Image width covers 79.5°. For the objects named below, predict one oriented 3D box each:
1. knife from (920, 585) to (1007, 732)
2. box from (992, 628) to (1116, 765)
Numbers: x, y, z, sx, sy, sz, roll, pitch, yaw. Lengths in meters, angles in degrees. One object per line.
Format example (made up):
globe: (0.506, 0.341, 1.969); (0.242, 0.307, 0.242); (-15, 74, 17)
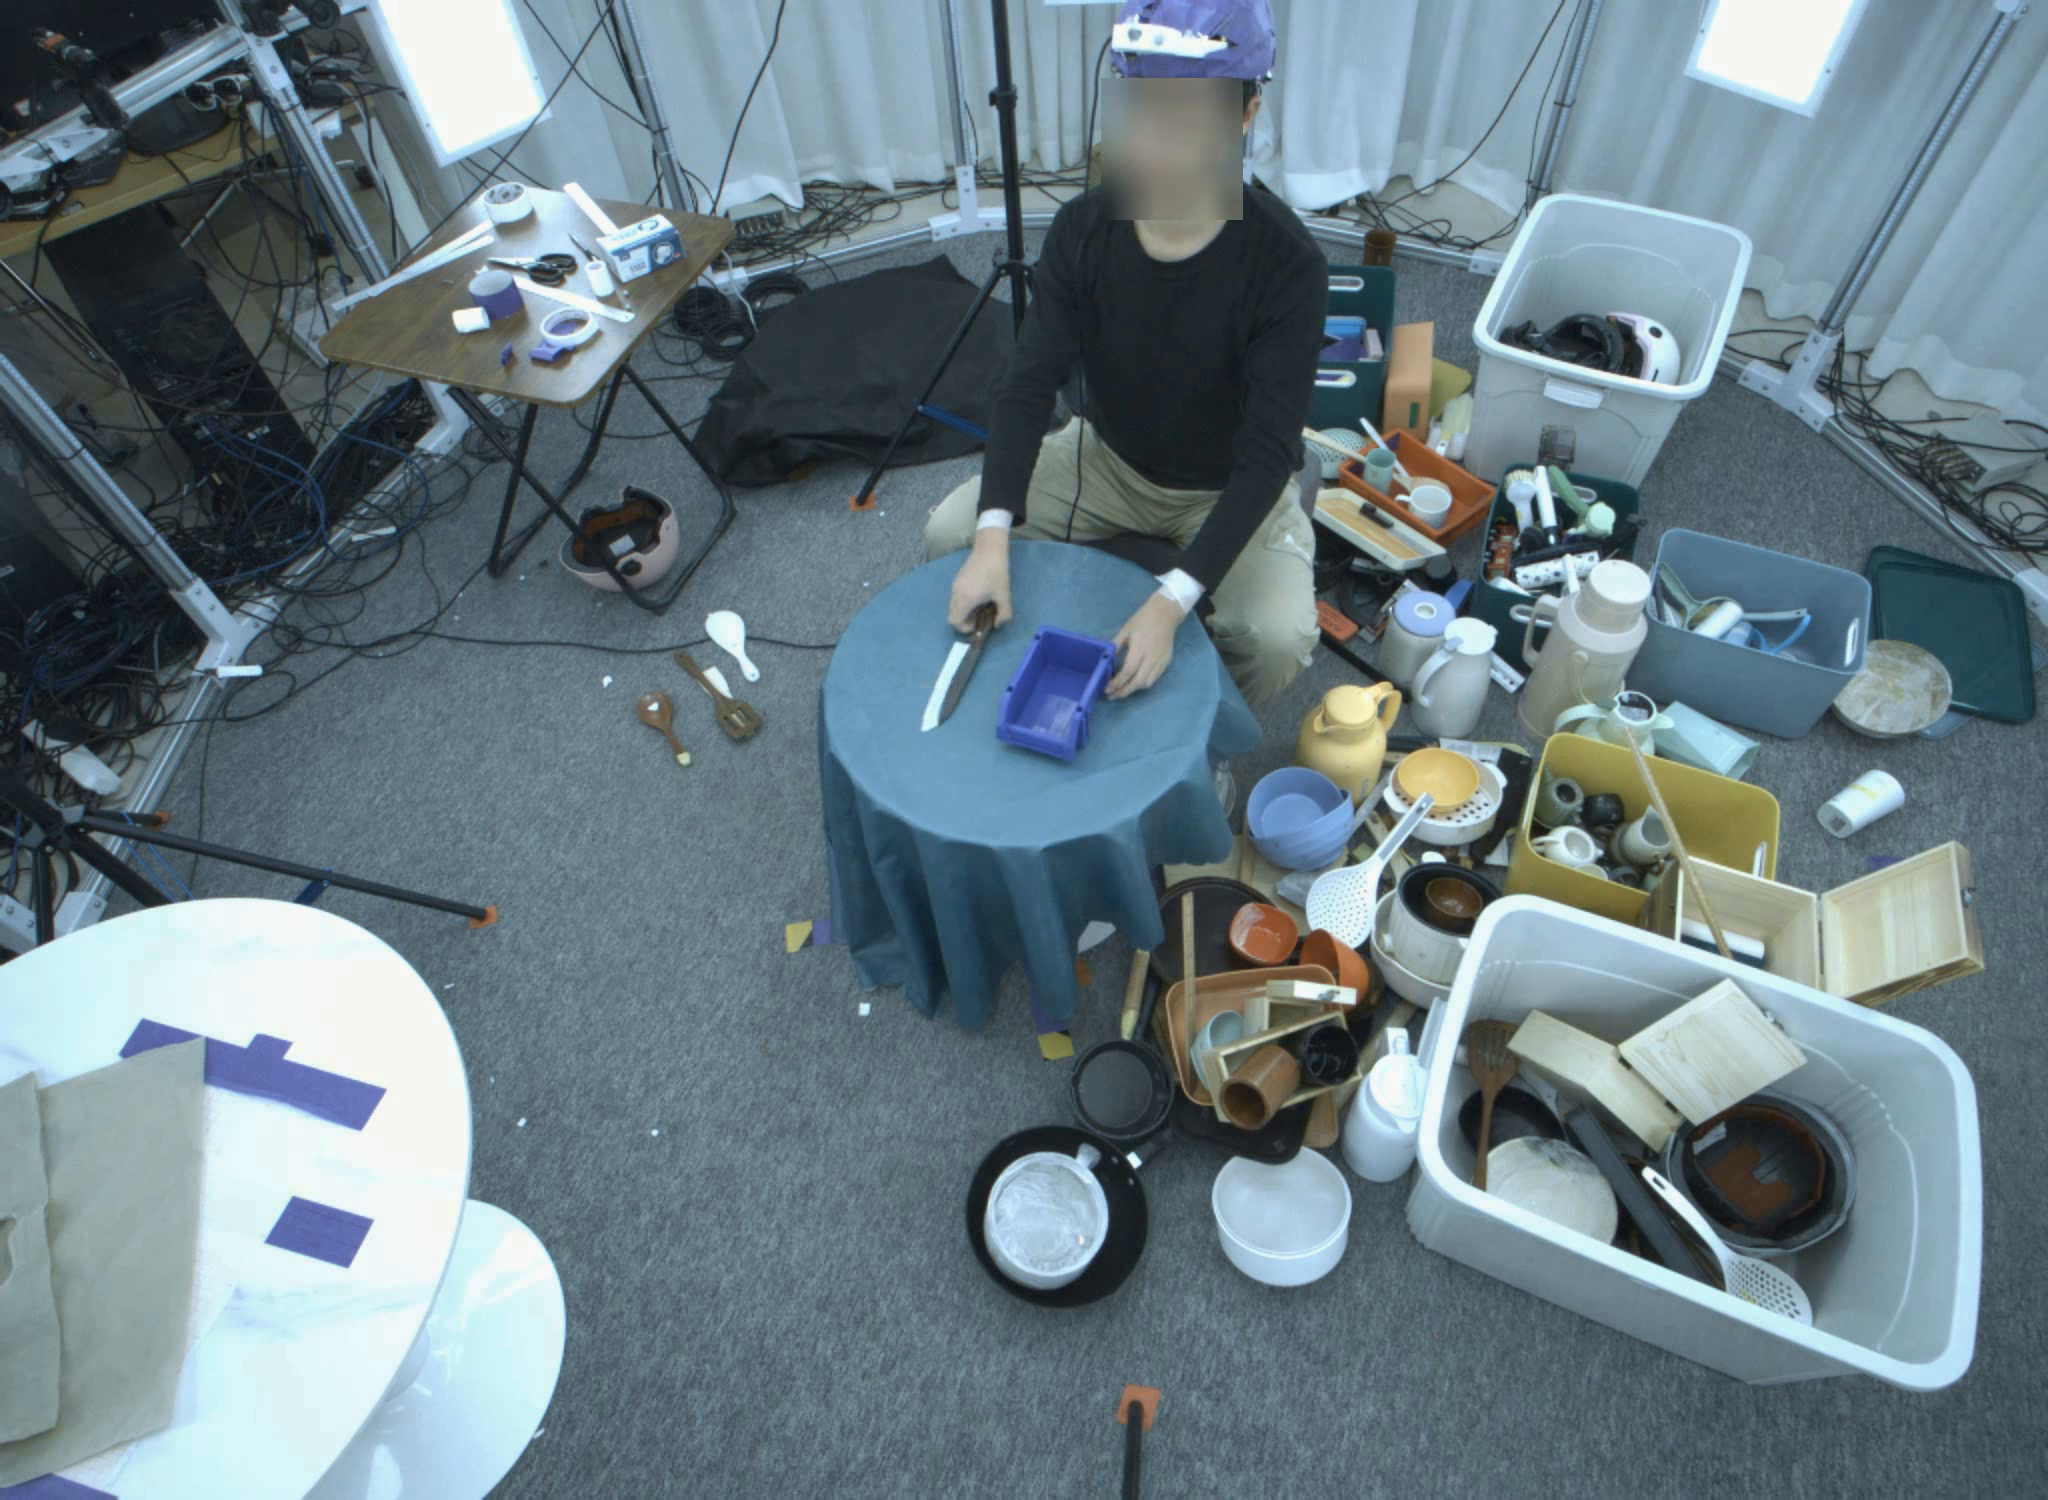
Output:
knife: (-0.091, -0.142, 1.876); (0.049, 0.020, 0.289); (17, 62, 18)
box: (0.046, -0.074, 1.788); (0.123, 0.083, 0.179); (19, 55, 15)
